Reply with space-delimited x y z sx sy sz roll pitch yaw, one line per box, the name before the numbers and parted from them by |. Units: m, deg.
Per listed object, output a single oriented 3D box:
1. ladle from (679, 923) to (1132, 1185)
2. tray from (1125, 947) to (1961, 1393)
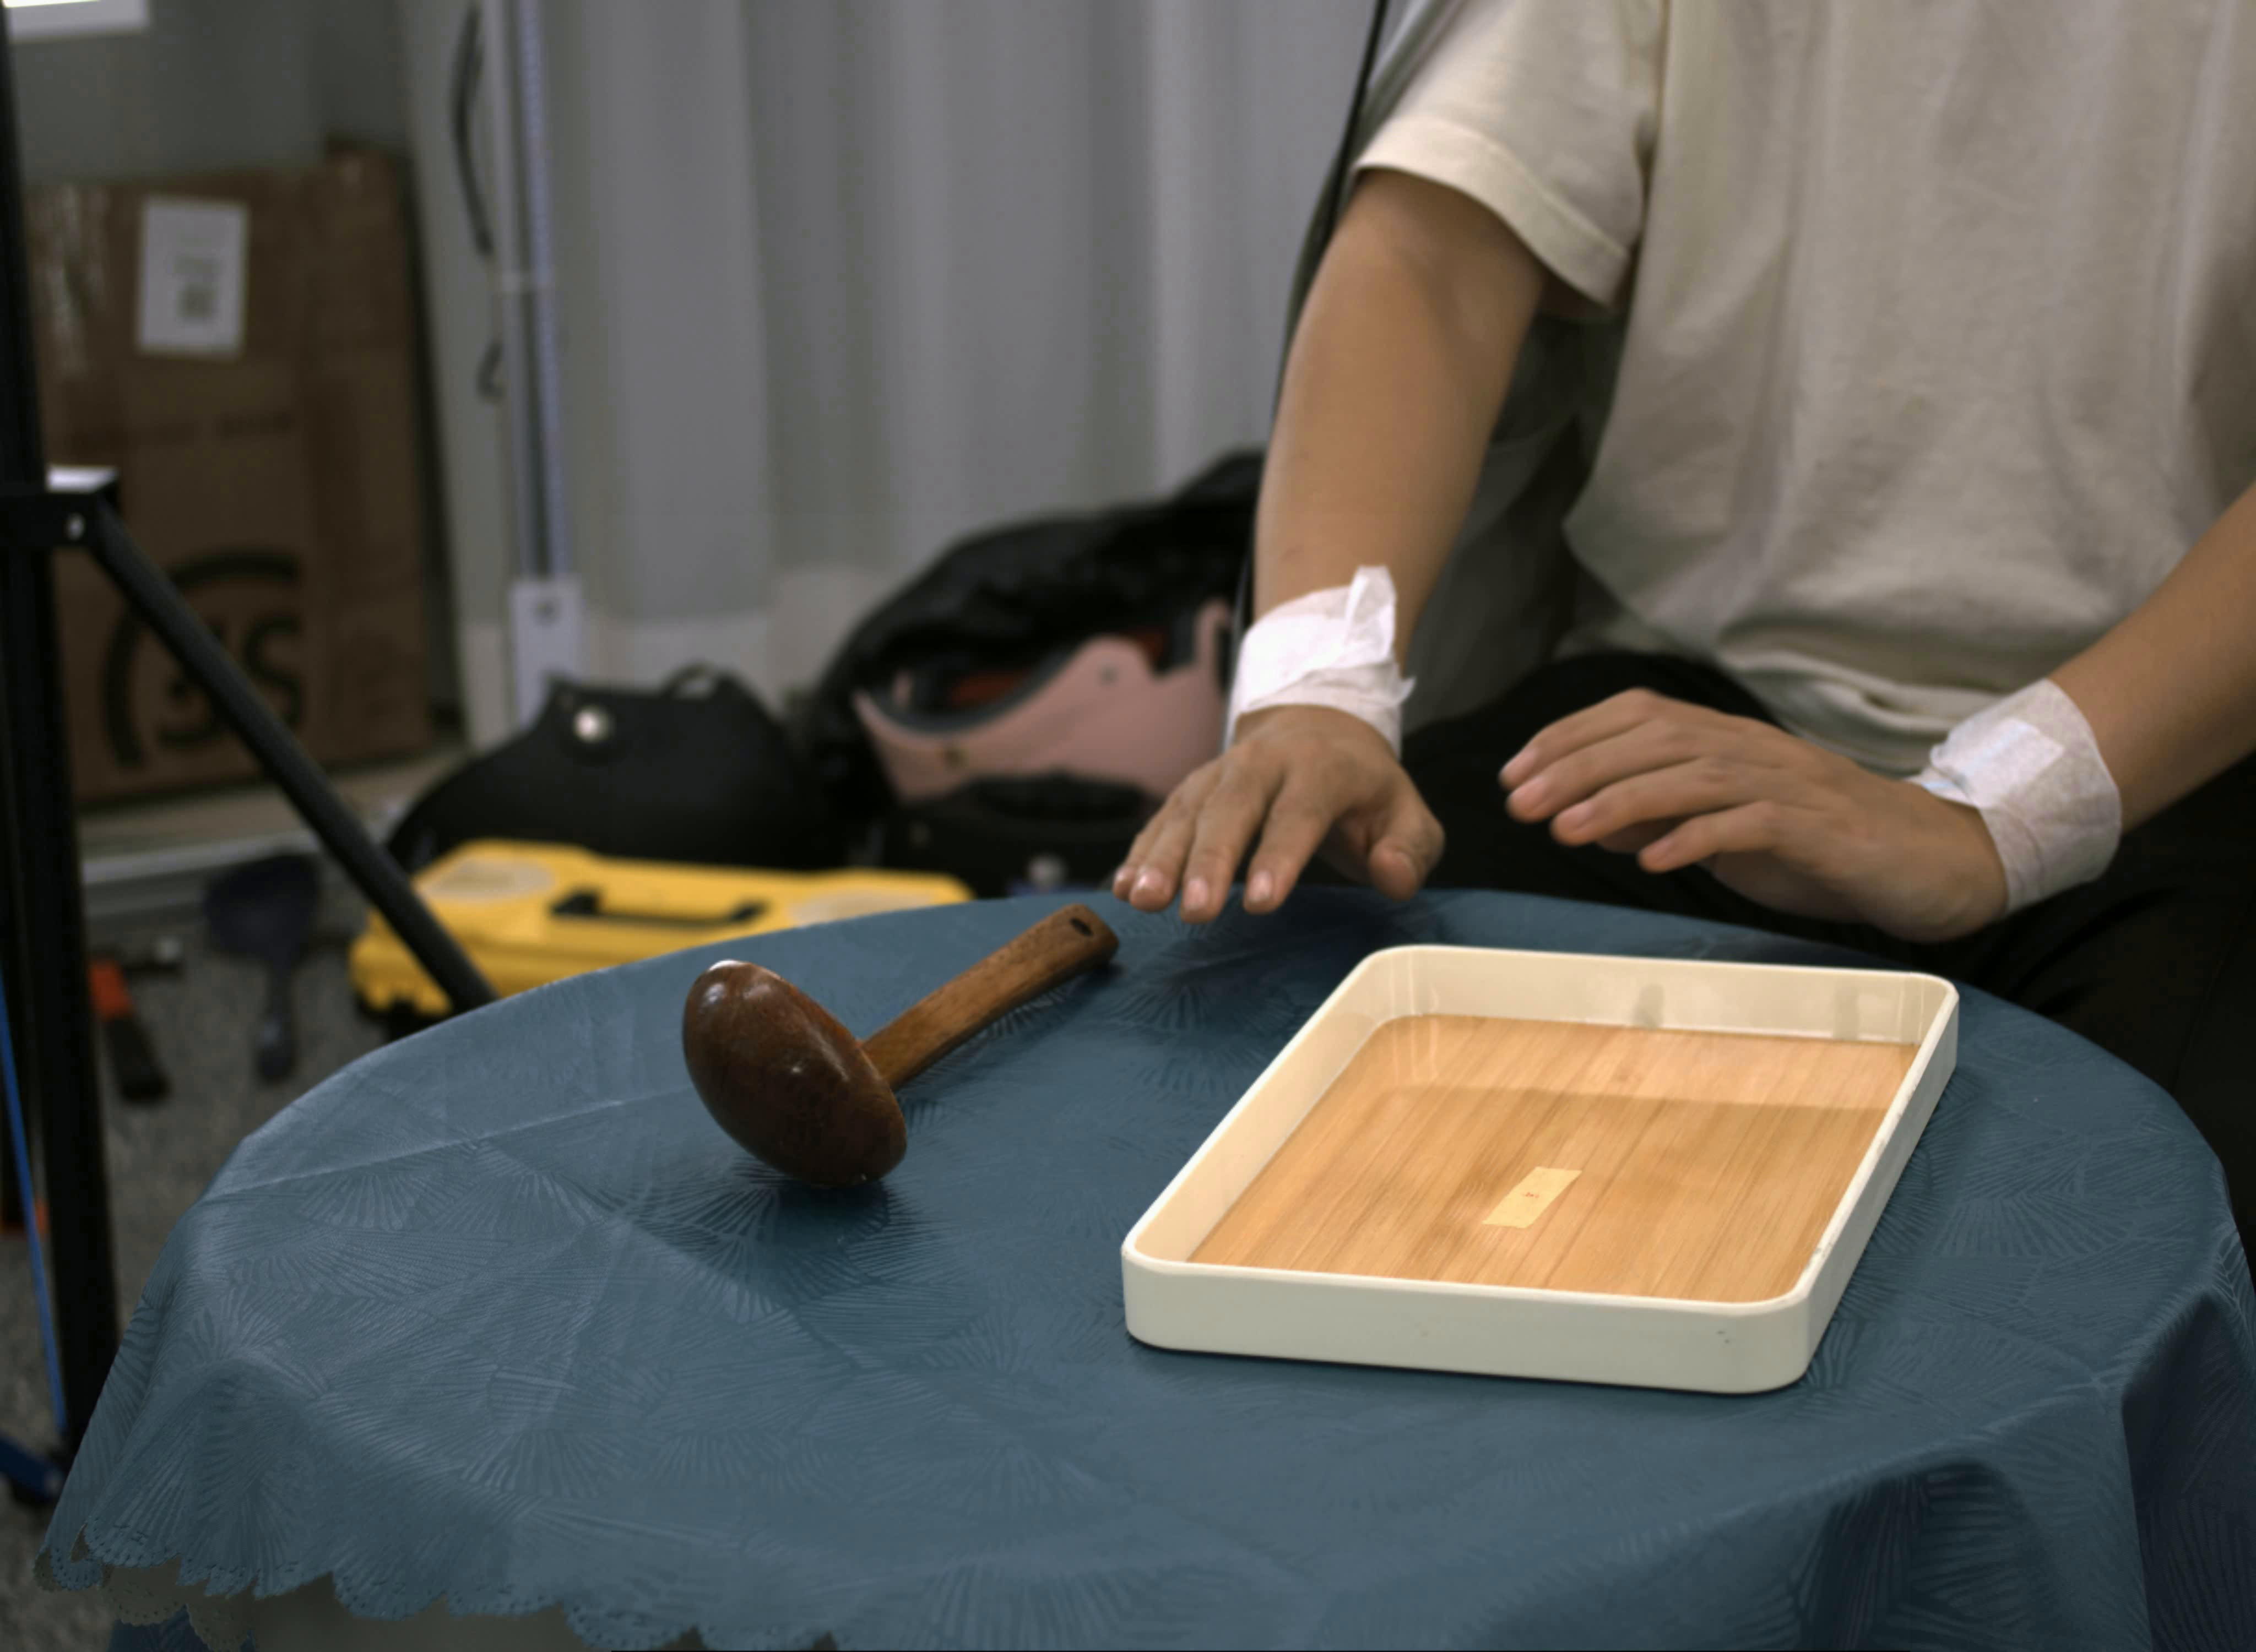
ladle | -0.053 0.048 1.650 0.082 0.077 0.269 45 29 10
tray | 0.128 0.094 1.534 0.193 0.027 0.297 2 16 18
